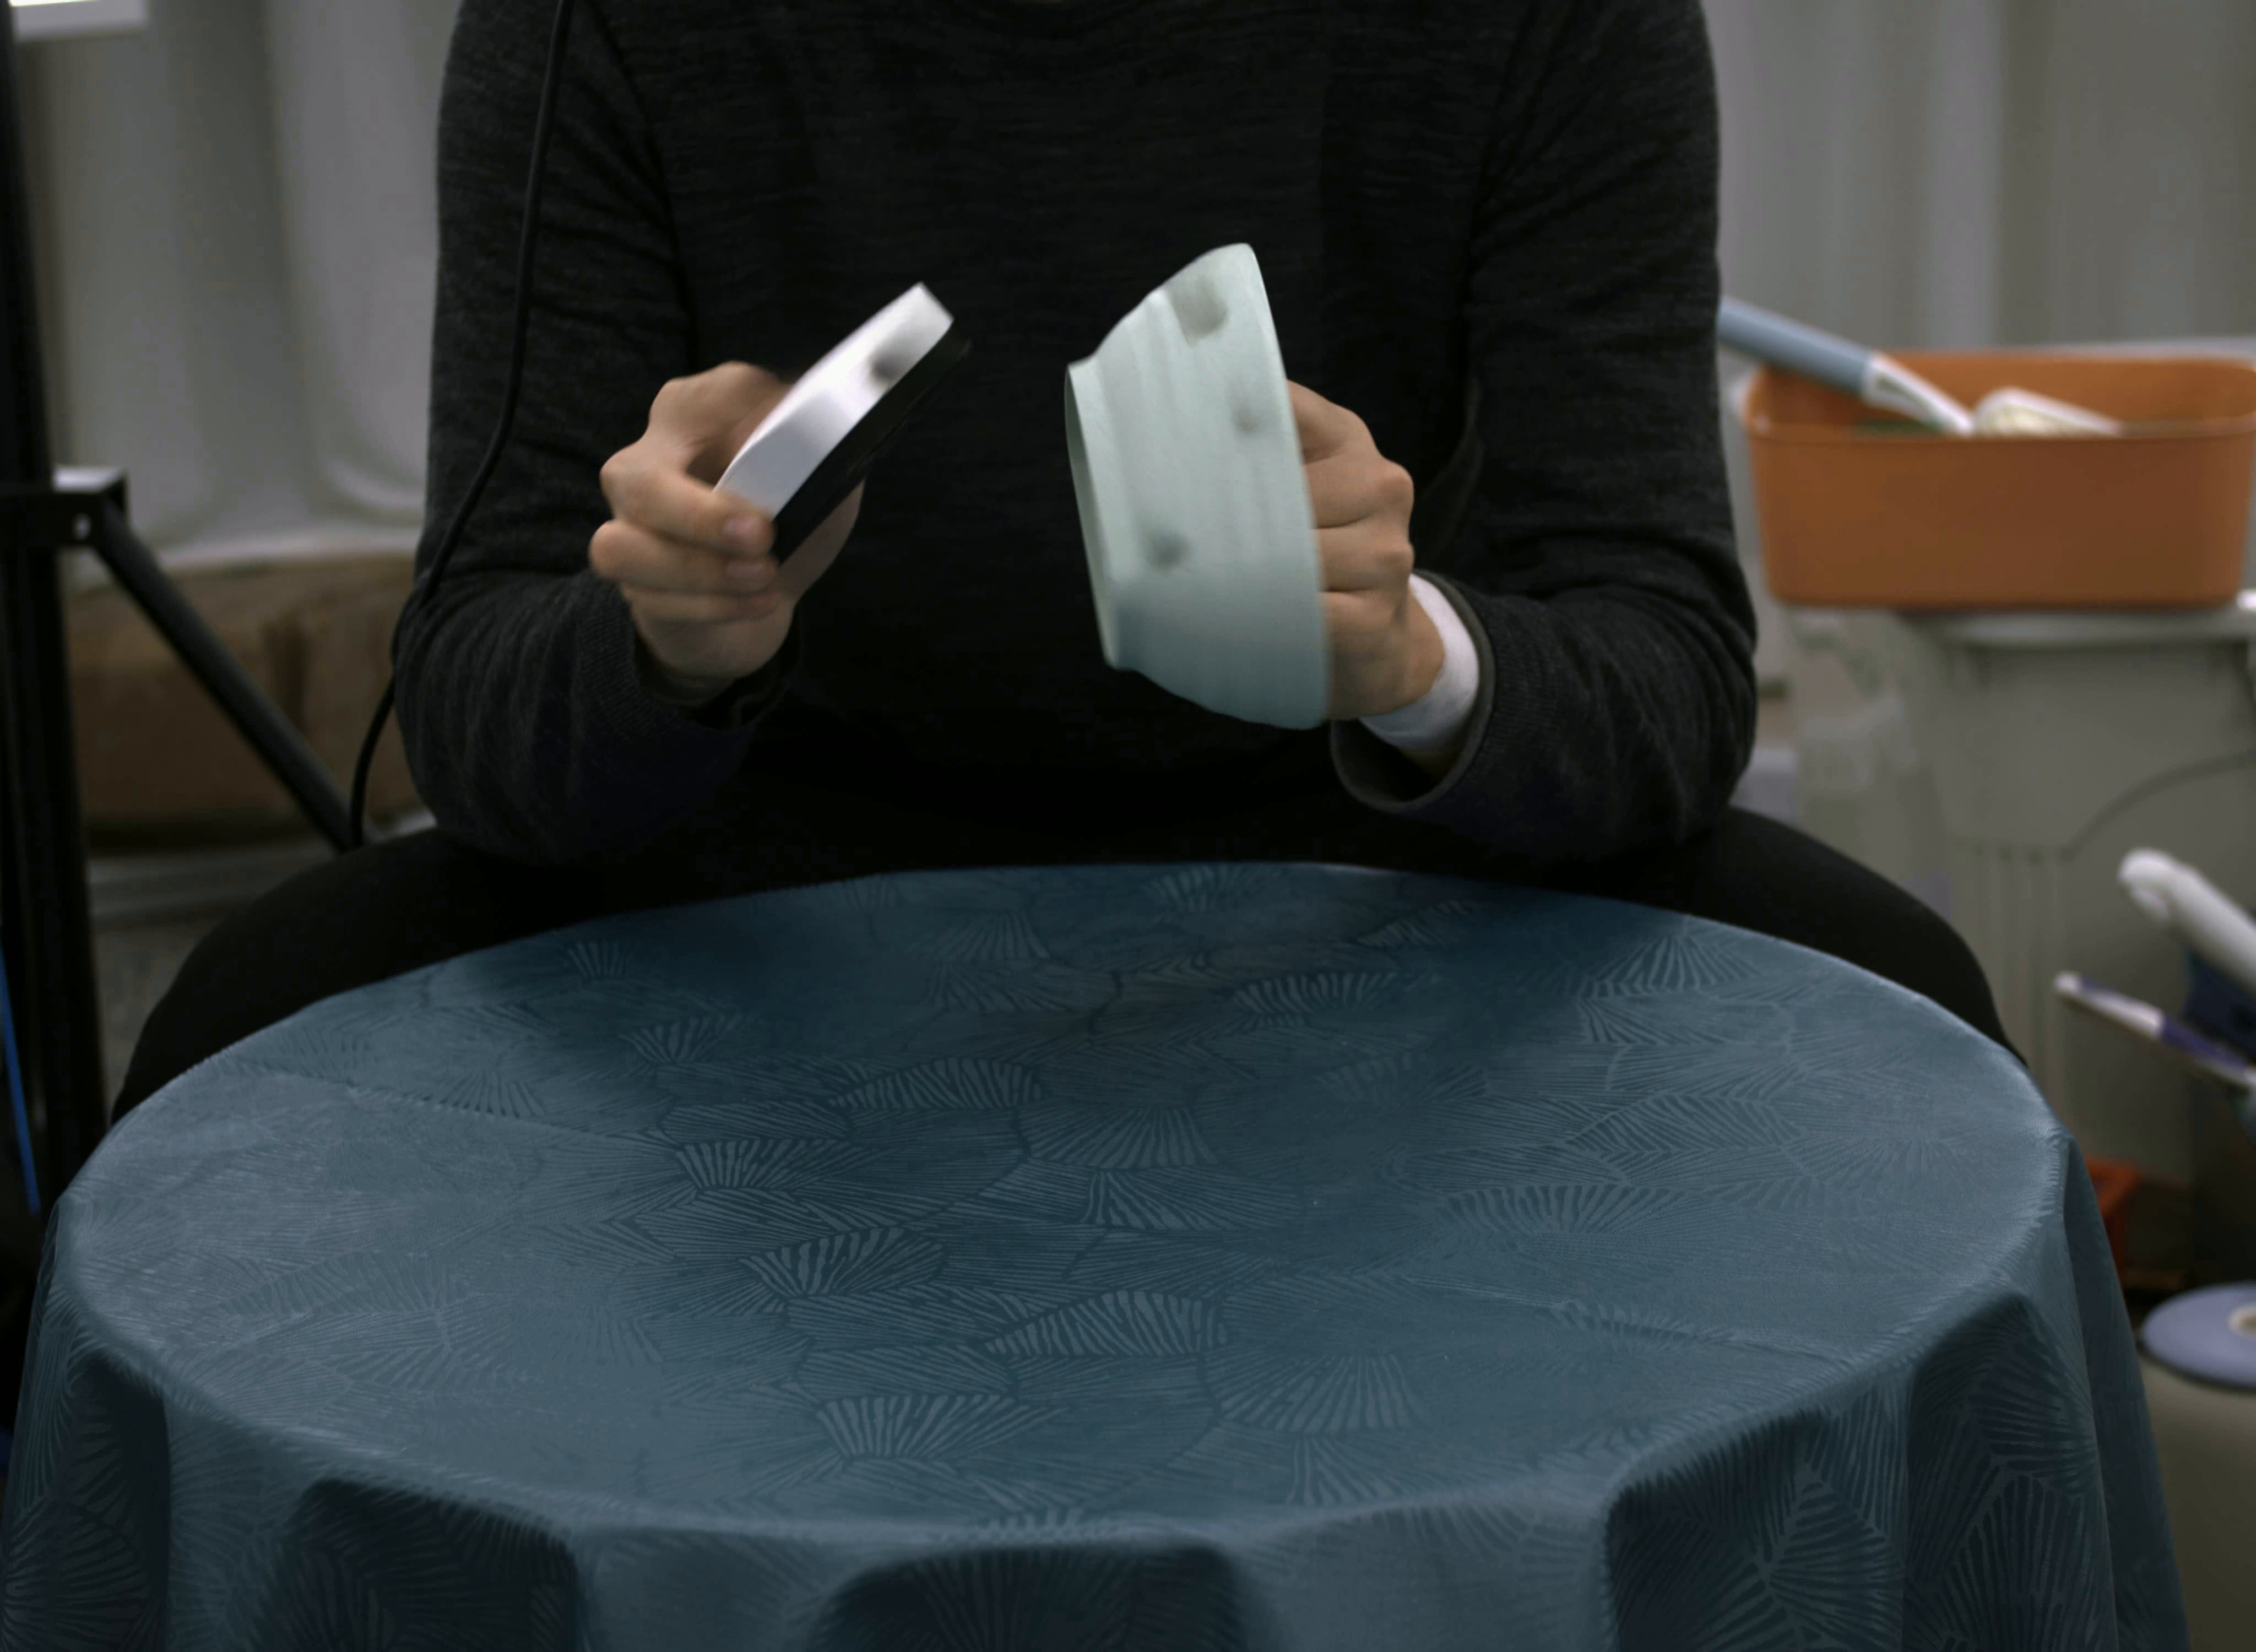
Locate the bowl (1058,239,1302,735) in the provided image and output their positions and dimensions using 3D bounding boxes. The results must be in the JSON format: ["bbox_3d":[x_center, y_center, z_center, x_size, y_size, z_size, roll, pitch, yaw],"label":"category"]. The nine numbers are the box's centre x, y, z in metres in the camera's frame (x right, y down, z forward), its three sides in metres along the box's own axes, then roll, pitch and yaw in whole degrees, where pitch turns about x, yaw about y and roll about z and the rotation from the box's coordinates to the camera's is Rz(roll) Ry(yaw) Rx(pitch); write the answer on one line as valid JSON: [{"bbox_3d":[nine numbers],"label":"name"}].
[{"bbox_3d":[0.014,-0.094,1.551,0.058,0.151,0.152,-7,16,-1],"label":"bowl"}]

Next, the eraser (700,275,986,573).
[{"bbox_3d":[-0.085,-0.120,1.577,0.063,0.034,0.132,-47,4,-25],"label":"eraser"}]
